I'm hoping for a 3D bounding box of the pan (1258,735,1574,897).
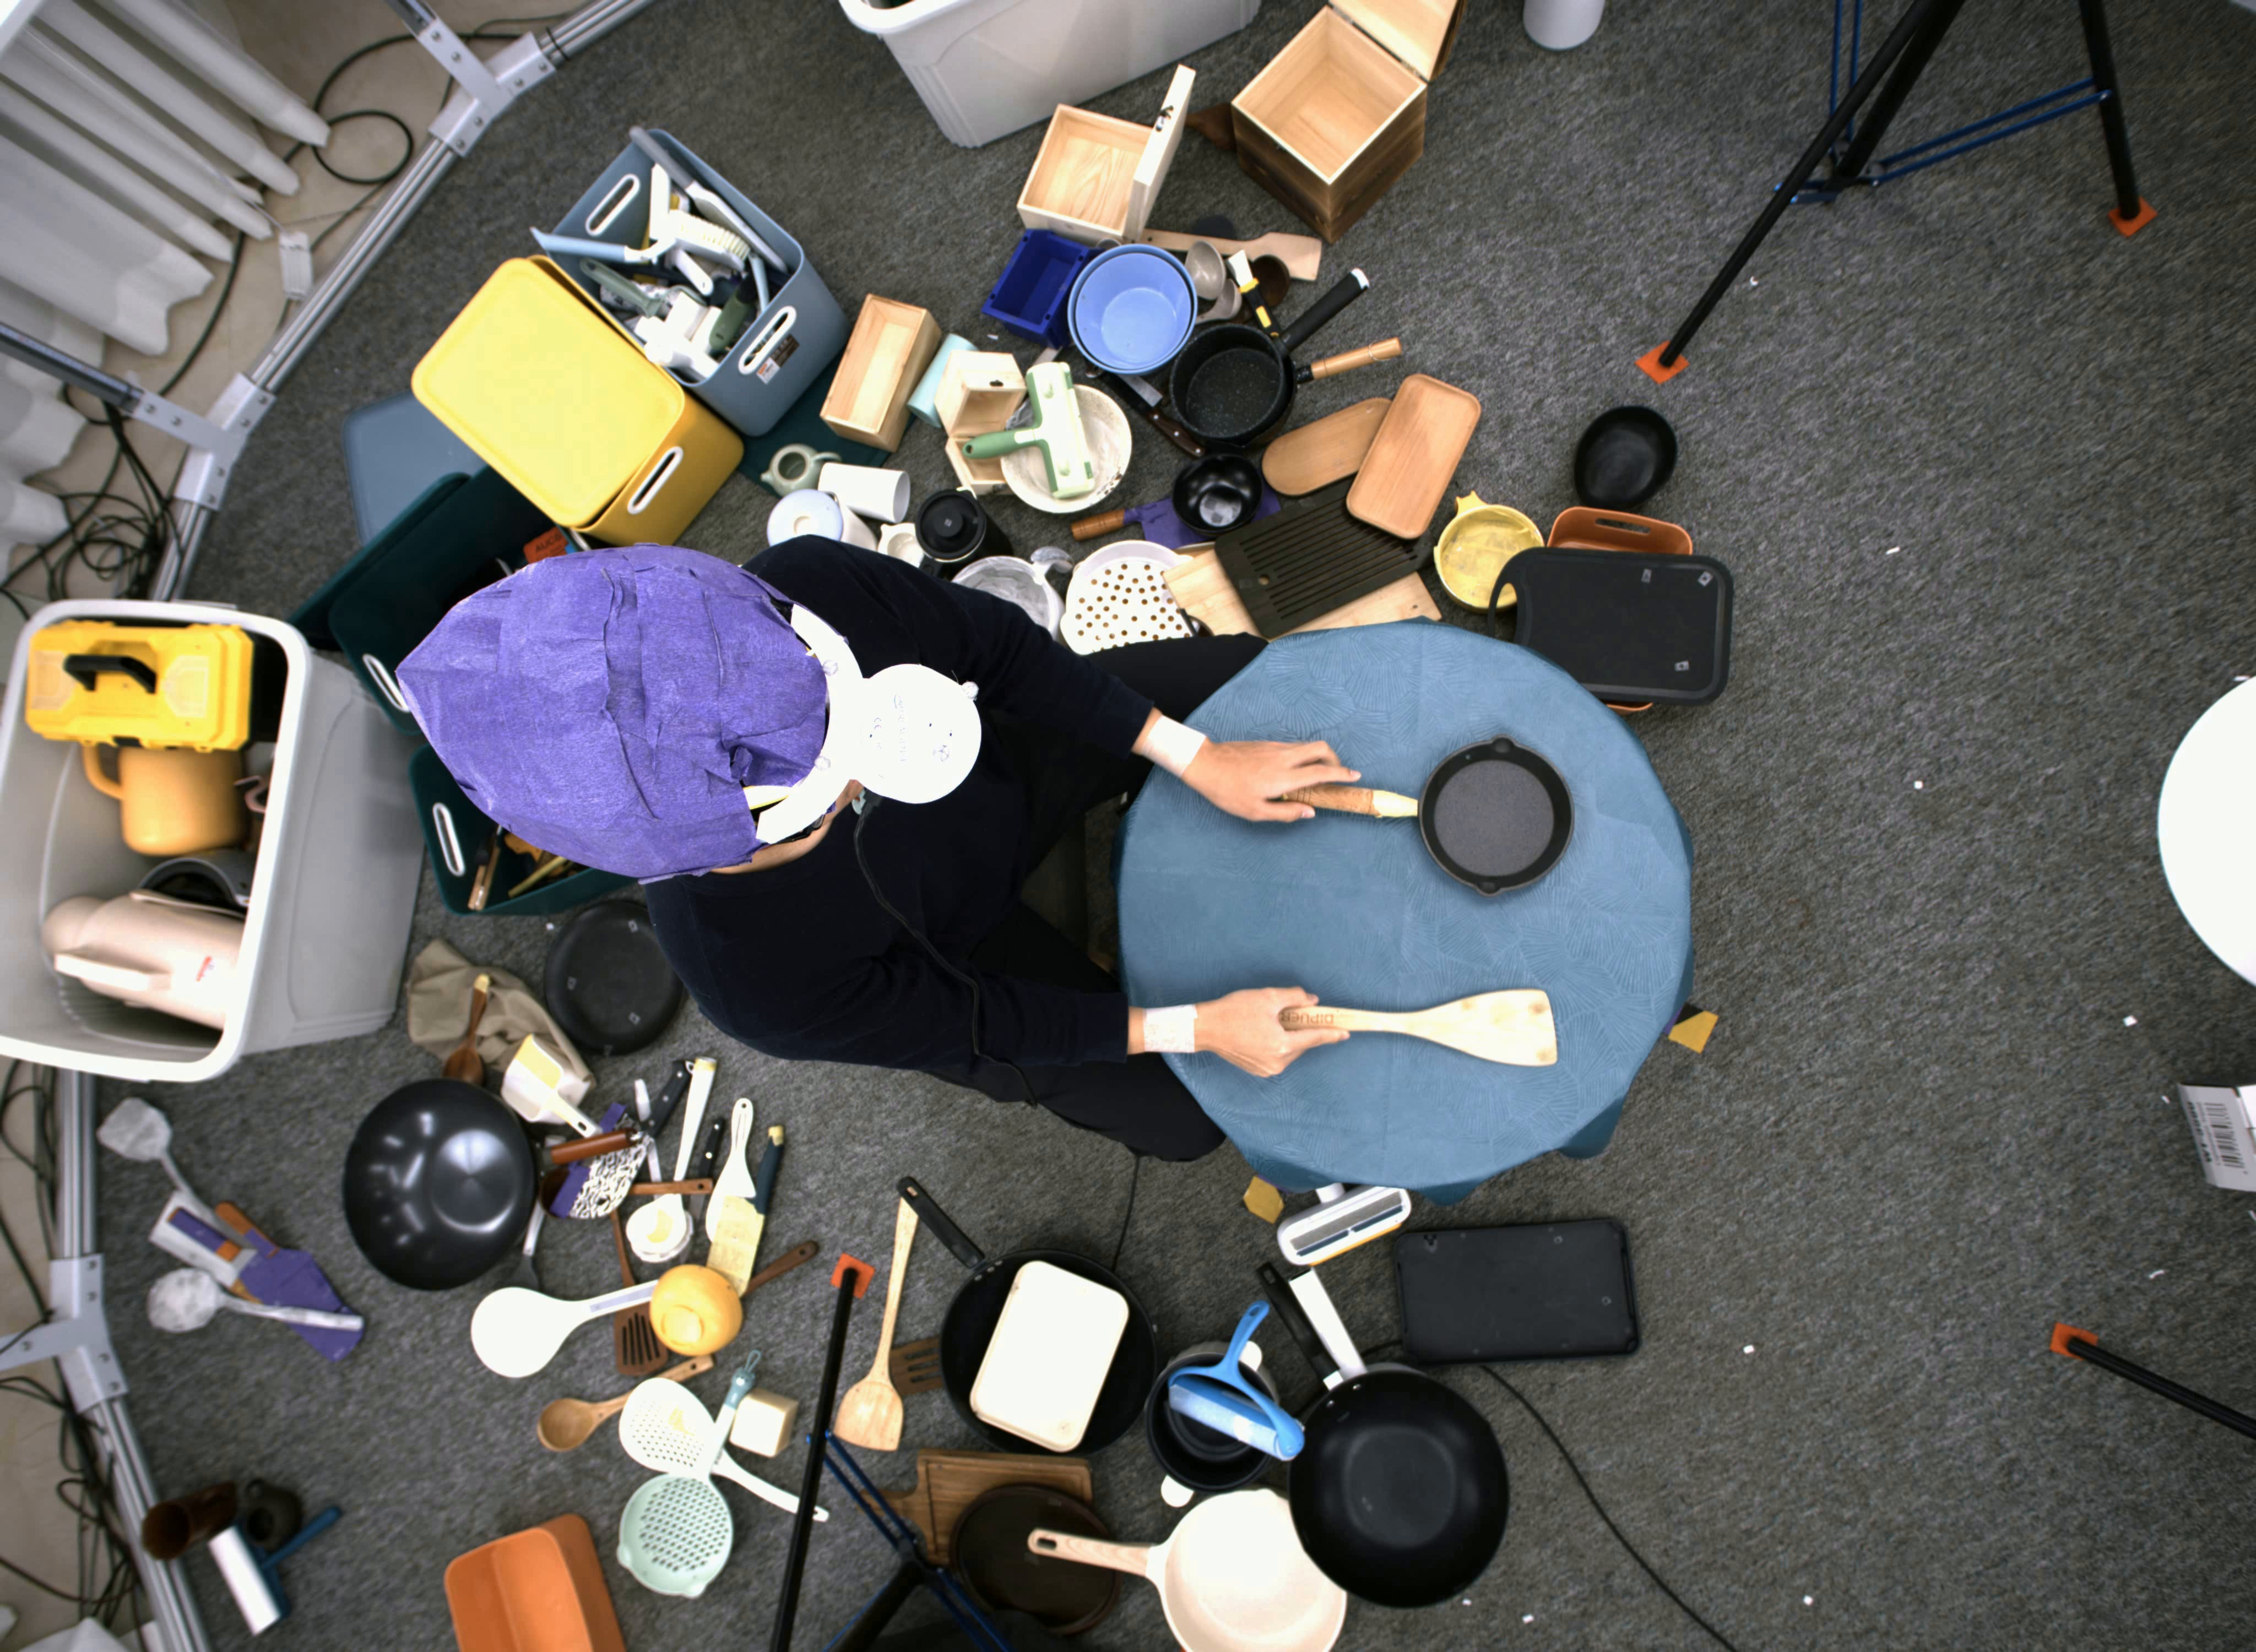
[{"bbox_3d":[0.297,-0.024,1.434,0.325,0.049,0.168,8,88,9],"label":"pan"}]

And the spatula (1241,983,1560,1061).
[{"bbox_3d":[0.280,0.195,1.418,0.328,0.016,0.079,2,85,-1],"label":"spatula"}]
